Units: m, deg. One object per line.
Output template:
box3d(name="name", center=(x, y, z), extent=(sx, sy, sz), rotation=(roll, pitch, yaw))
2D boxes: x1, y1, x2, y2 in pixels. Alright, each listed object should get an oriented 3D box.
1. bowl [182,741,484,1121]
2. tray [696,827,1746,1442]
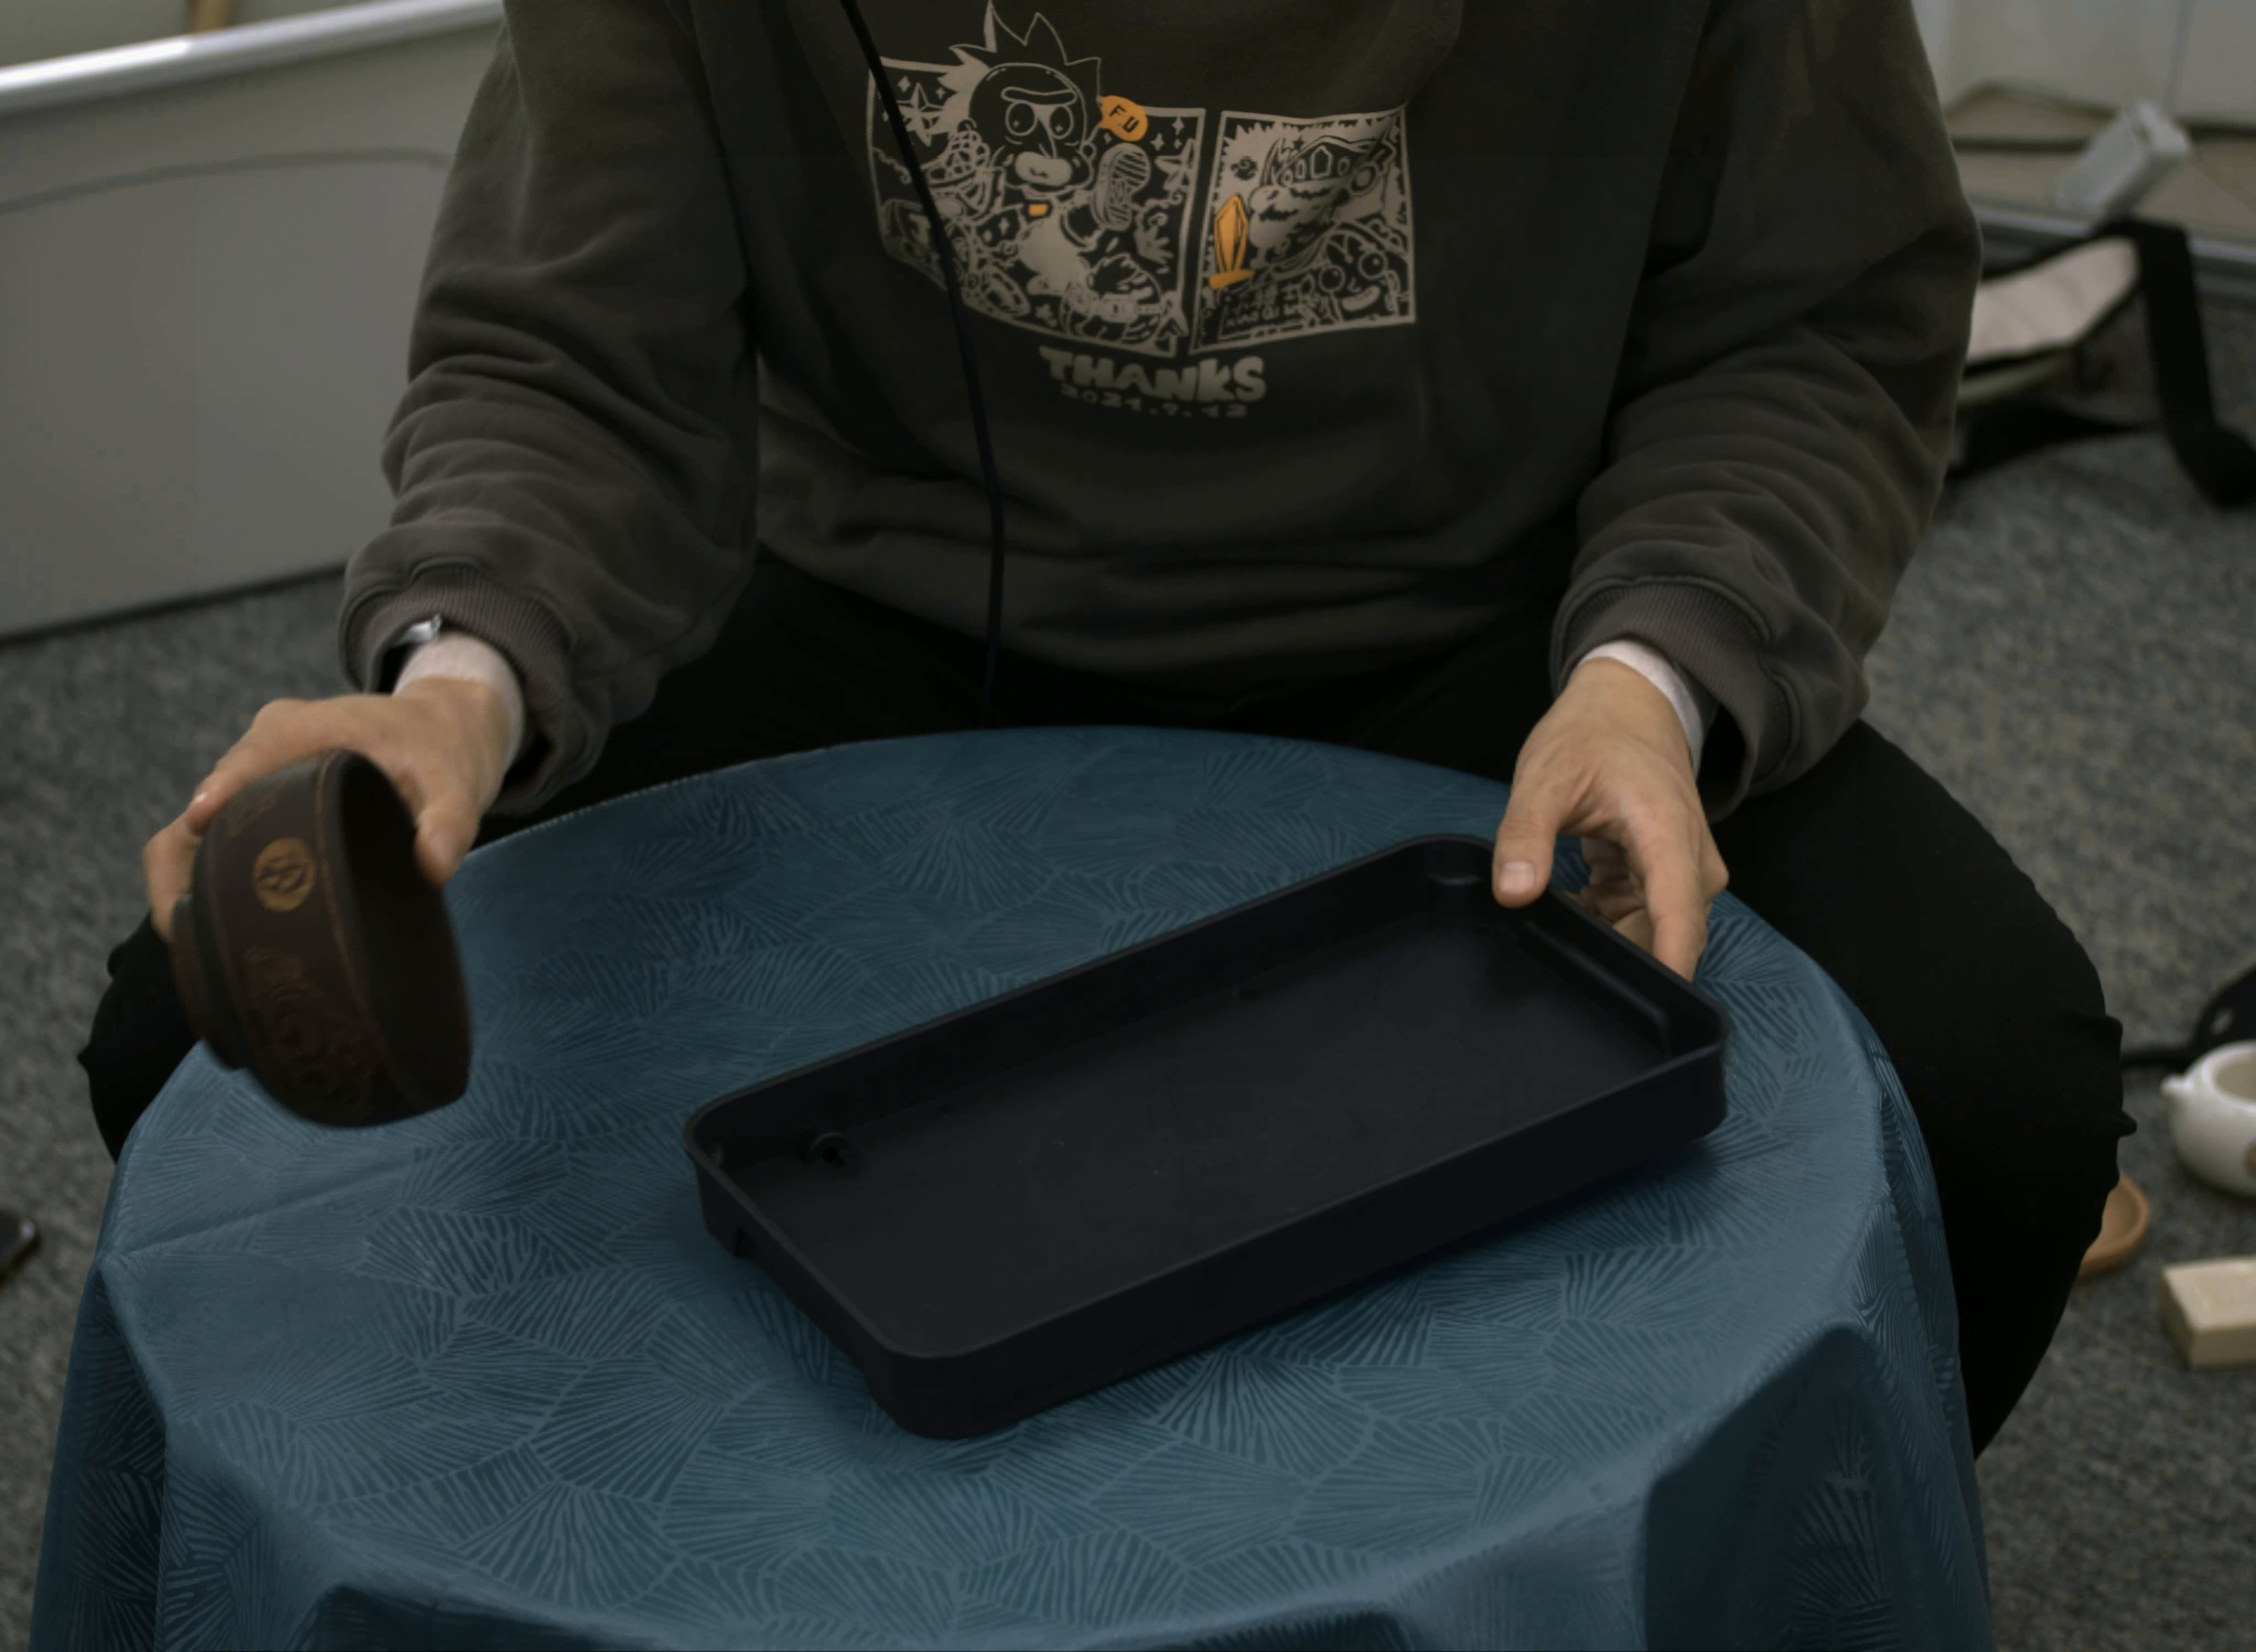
box3d(name="bowl", center=(-0.256, 0.039, 1.774), extent=(0.069, 0.117, 0.120), rotation=(-17, 27, 5))
box3d(name="tray", center=(0.032, 0.096, 1.855), extent=(0.320, 0.036, 0.185), rotation=(-21, 32, -25))
